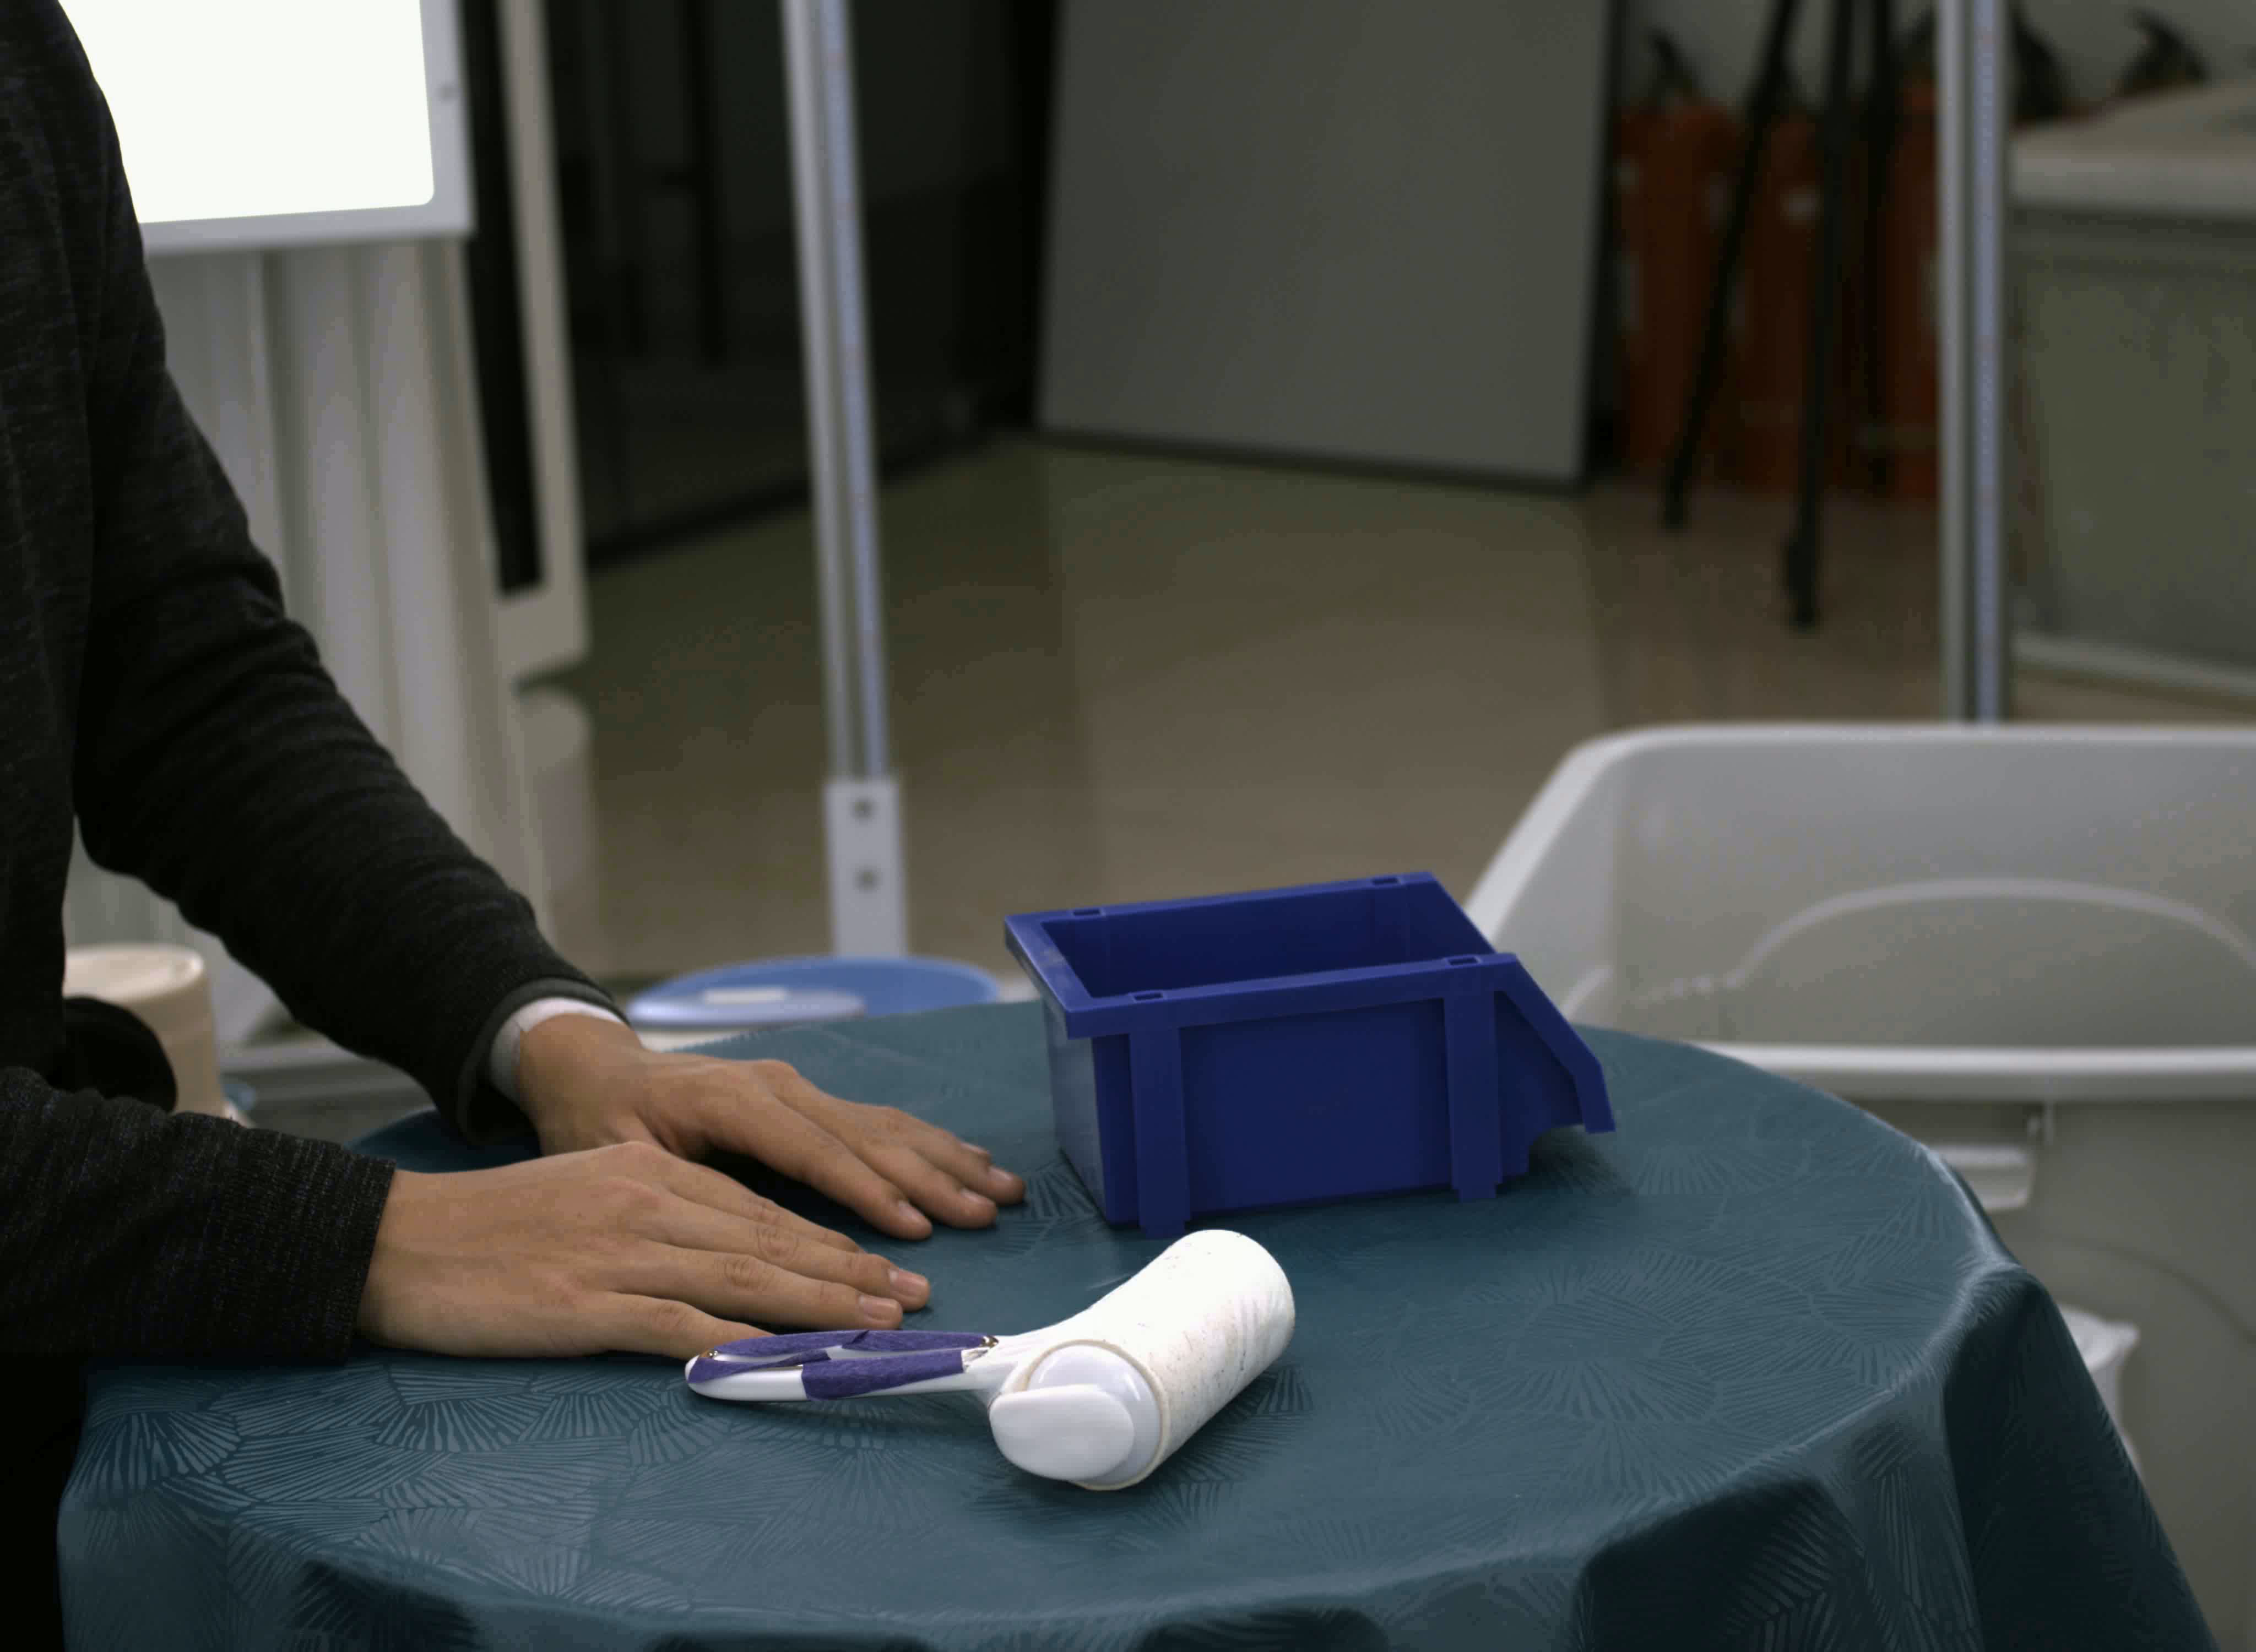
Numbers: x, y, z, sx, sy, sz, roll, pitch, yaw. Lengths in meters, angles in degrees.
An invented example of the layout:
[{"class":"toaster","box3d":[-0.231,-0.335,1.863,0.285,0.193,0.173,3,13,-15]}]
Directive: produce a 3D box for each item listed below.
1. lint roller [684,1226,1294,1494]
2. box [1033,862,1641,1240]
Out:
[{"class":"lint roller","box3d":[-0.049,0.149,1.574,0.181,0.051,0.131,4,17,26]},{"class":"box","box3d":[0.068,0.071,1.781,0.176,0.083,0.125,-9,14,-7]}]
